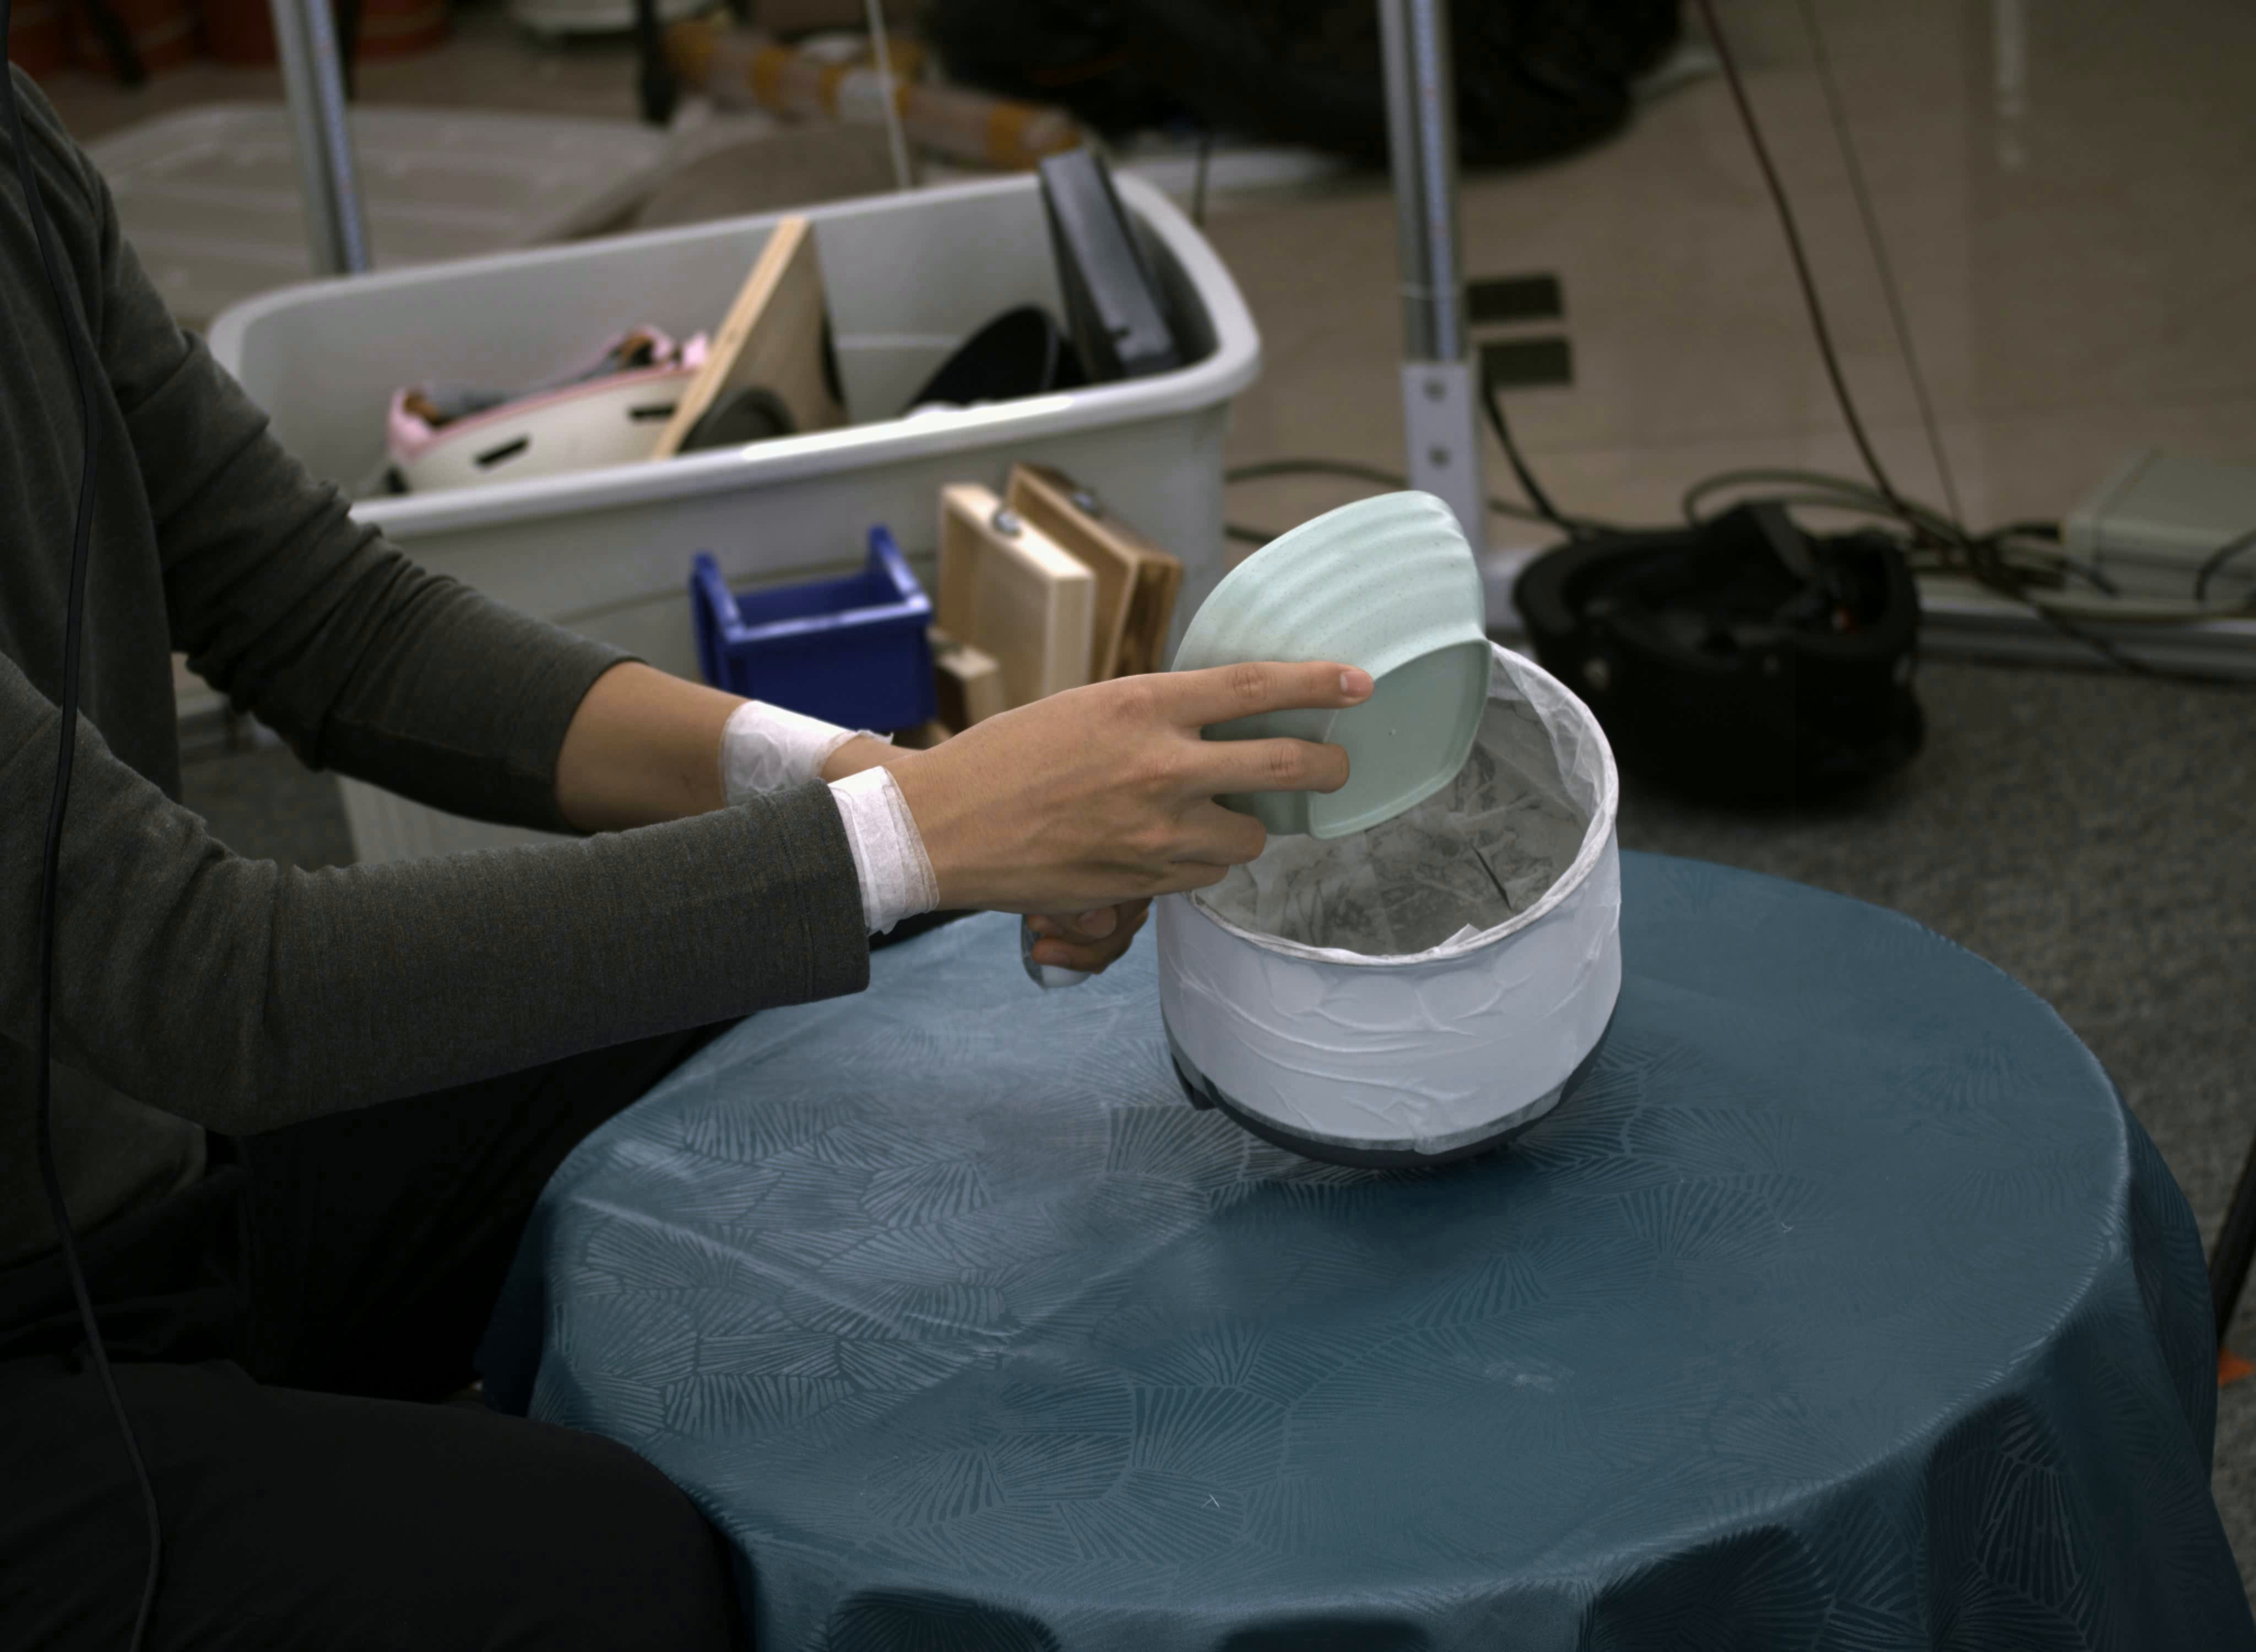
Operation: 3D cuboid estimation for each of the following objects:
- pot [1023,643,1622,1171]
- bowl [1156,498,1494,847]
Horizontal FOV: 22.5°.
[{"bbox_3d":[0.071,0.030,2.154,0.233,0.139,0.175,5,47,11],"label":"pot"},{"bbox_3d":[0.083,-0.047,2.089,0.150,0.154,0.058,-21,52,-29],"label":"bowl"}]
